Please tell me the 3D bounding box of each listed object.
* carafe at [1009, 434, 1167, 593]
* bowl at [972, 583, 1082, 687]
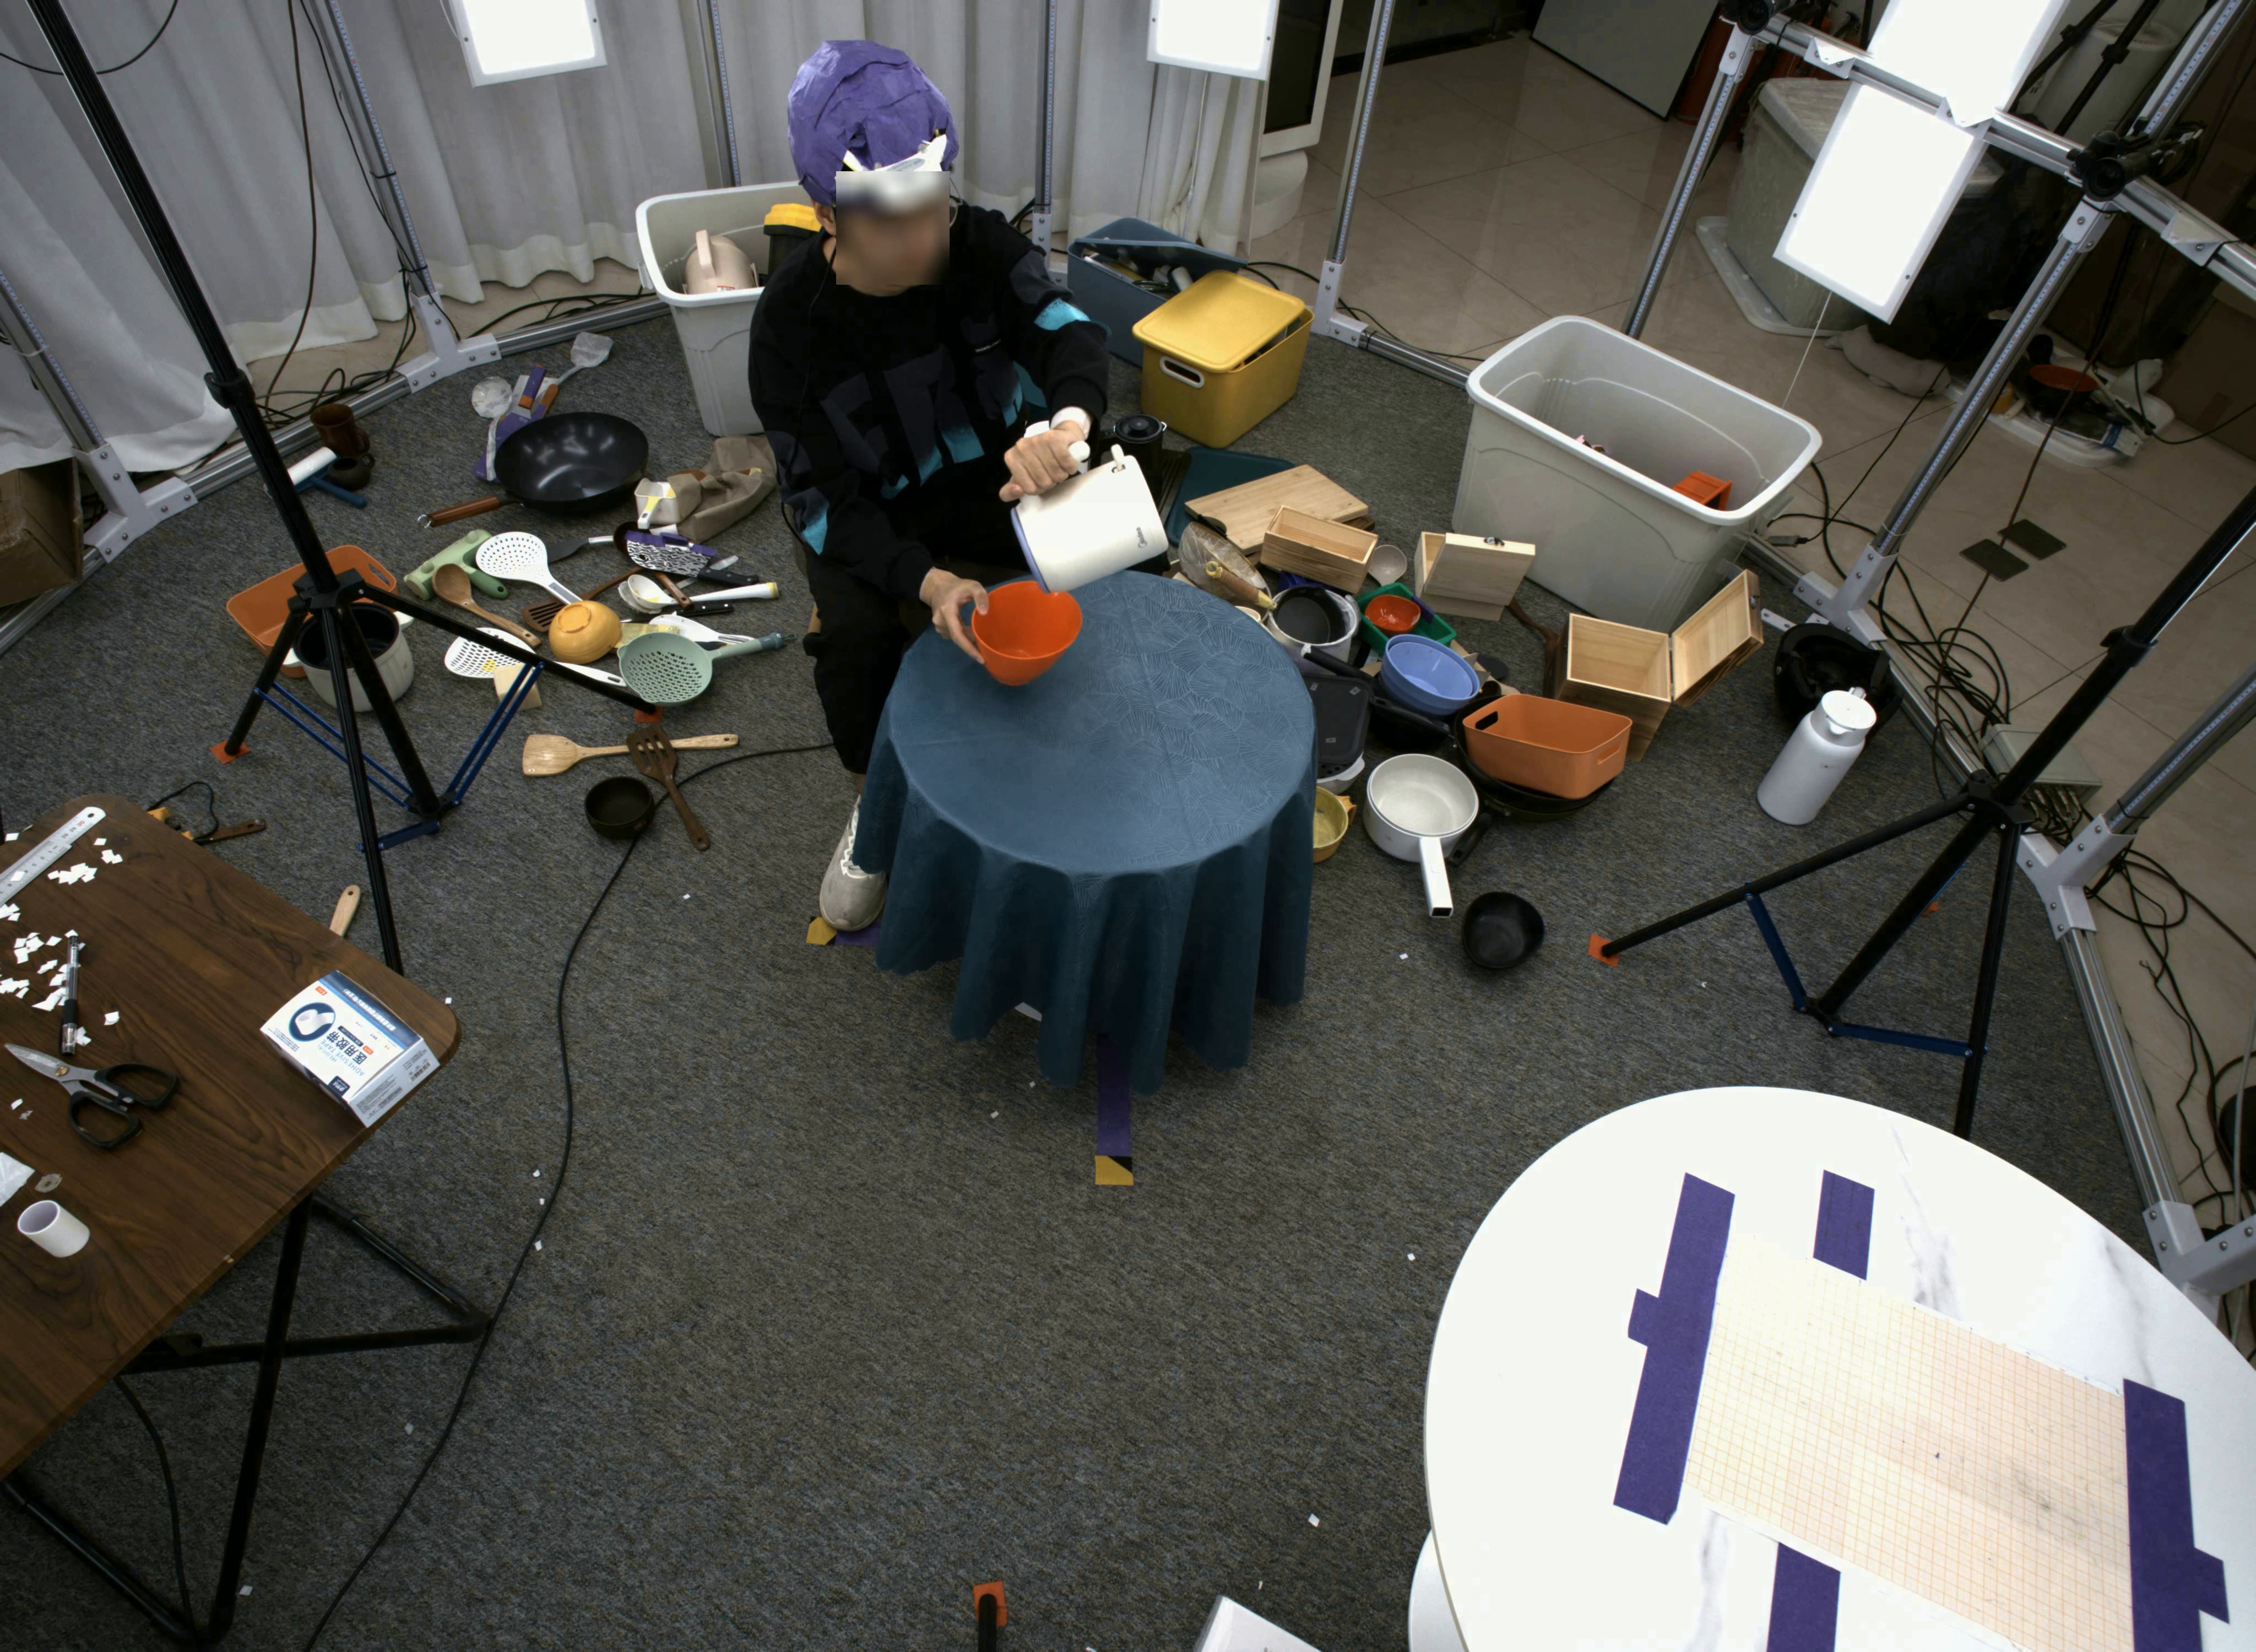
[{"bbox_3d":[-0.056,-0.399,1.626,0.182,0.186,0.135,-20,43,1],"label":"carafe"},{"bbox_3d":[-0.143,-0.252,1.770,0.147,0.102,0.152,6,48,-7],"label":"bowl"}]
